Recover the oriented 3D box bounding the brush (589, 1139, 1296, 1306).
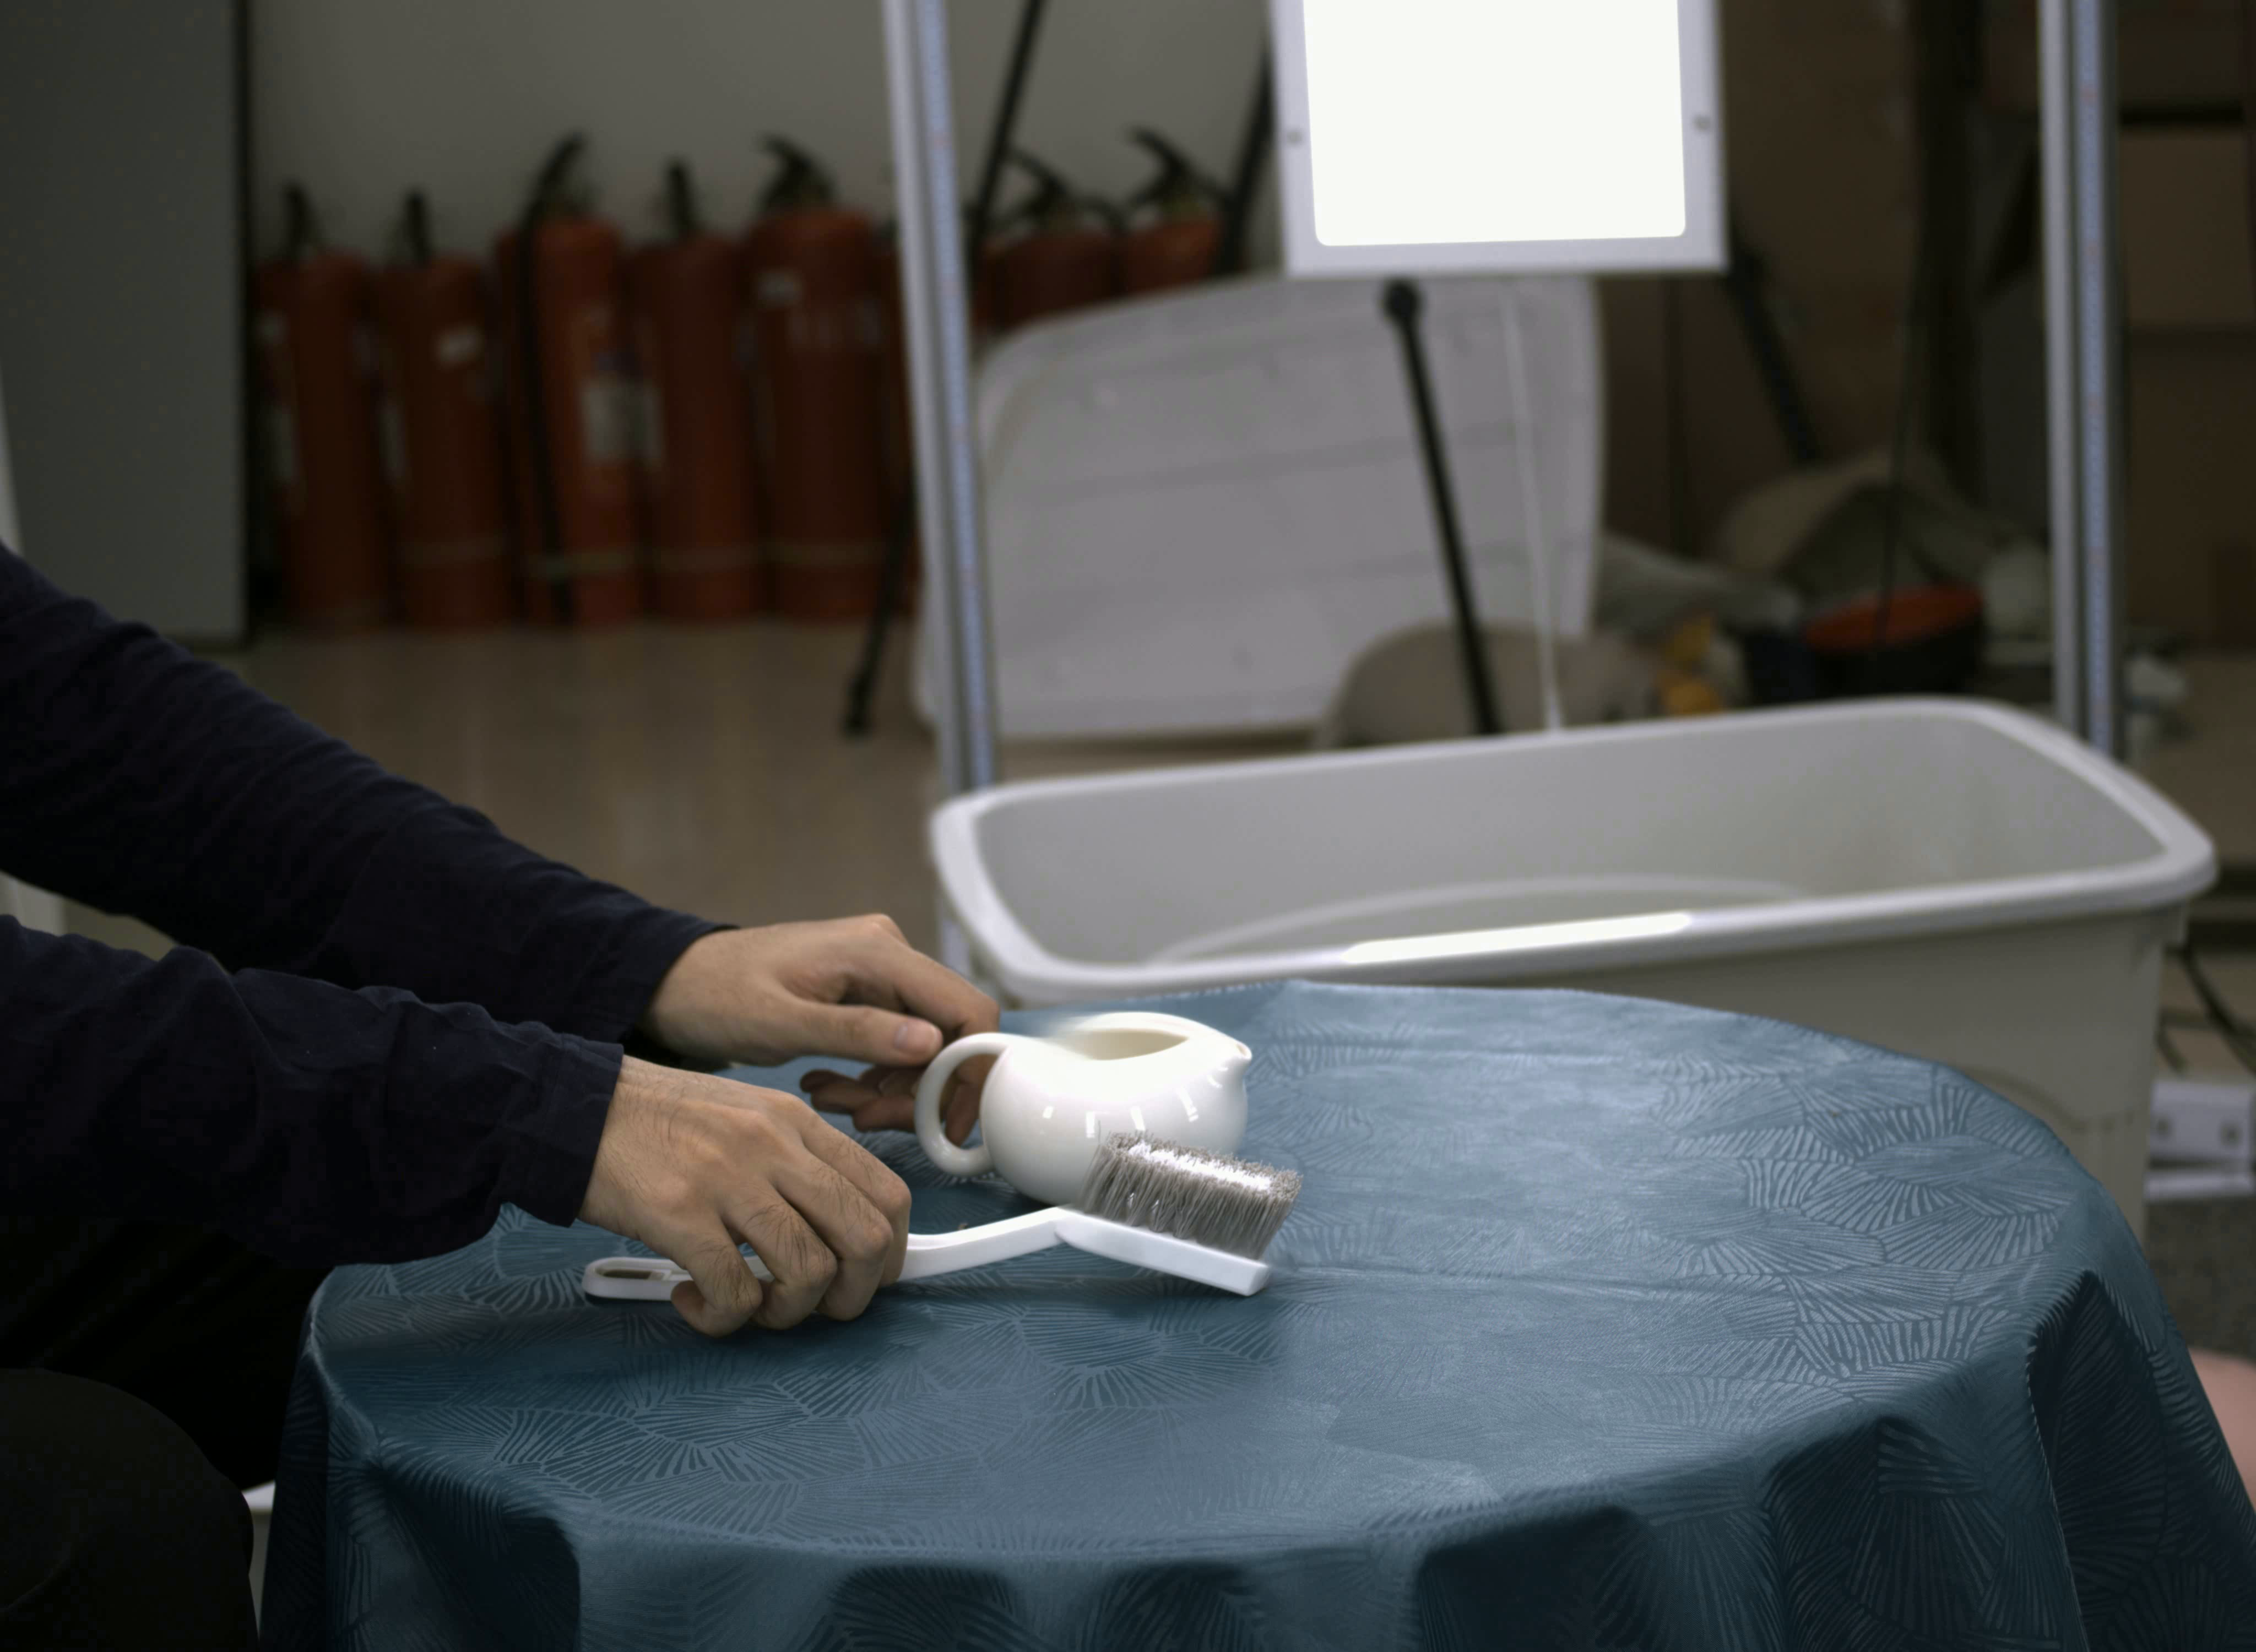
[{"bbox_3d":[-0.064,0.129,1.813,0.246,0.050,0.034,-1,21,17],"label":"brush"}]

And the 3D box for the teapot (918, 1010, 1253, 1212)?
[{"bbox_3d":[-0.014,0.100,1.904,0.129,0.057,0.092,-2,19,19],"label":"teapot"}]
